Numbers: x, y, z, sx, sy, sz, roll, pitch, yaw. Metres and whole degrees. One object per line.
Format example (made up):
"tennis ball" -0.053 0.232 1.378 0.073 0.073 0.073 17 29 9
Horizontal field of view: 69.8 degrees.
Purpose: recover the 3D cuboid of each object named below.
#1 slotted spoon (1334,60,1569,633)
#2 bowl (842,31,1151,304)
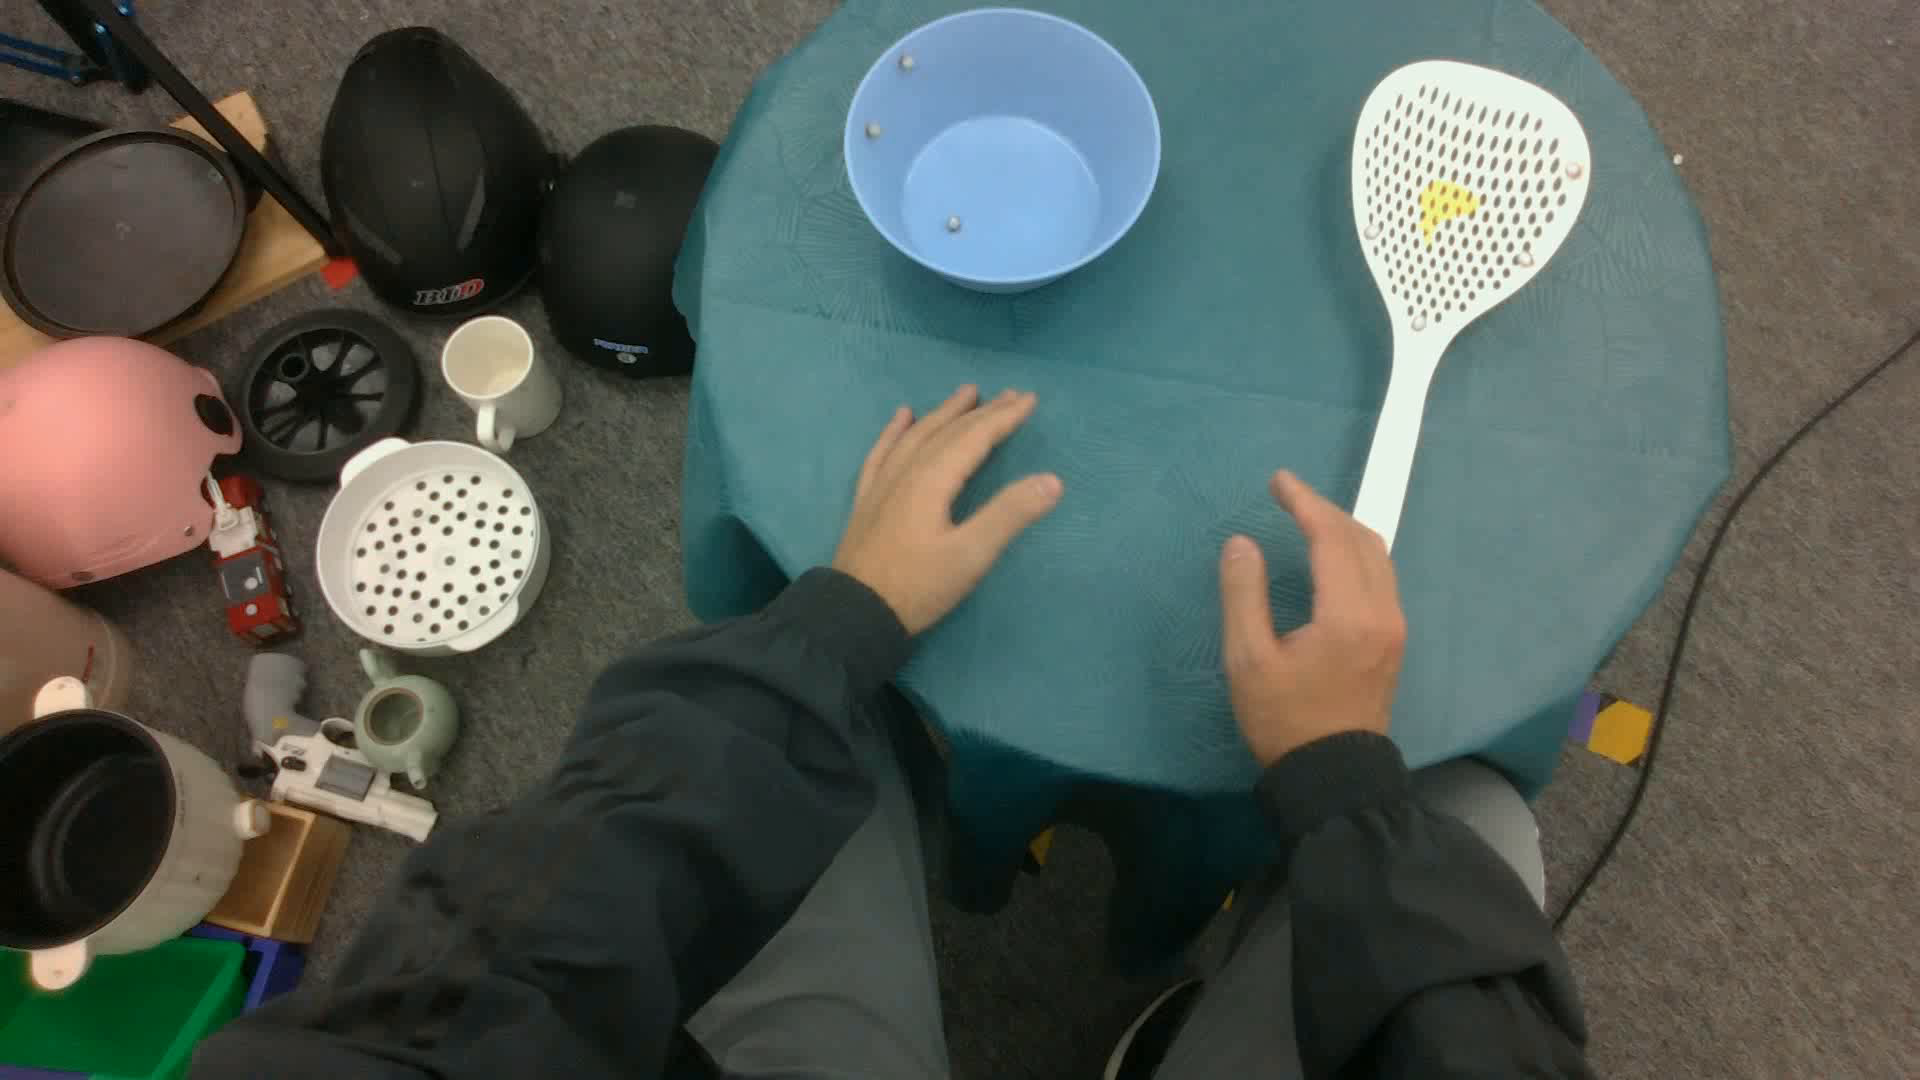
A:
"slotted spoon" 0.257 -0.117 0.789 0.137 0.050 0.349 16 72 3
"bowl" 0.021 -0.206 0.810 0.176 0.070 0.176 0 71 1
